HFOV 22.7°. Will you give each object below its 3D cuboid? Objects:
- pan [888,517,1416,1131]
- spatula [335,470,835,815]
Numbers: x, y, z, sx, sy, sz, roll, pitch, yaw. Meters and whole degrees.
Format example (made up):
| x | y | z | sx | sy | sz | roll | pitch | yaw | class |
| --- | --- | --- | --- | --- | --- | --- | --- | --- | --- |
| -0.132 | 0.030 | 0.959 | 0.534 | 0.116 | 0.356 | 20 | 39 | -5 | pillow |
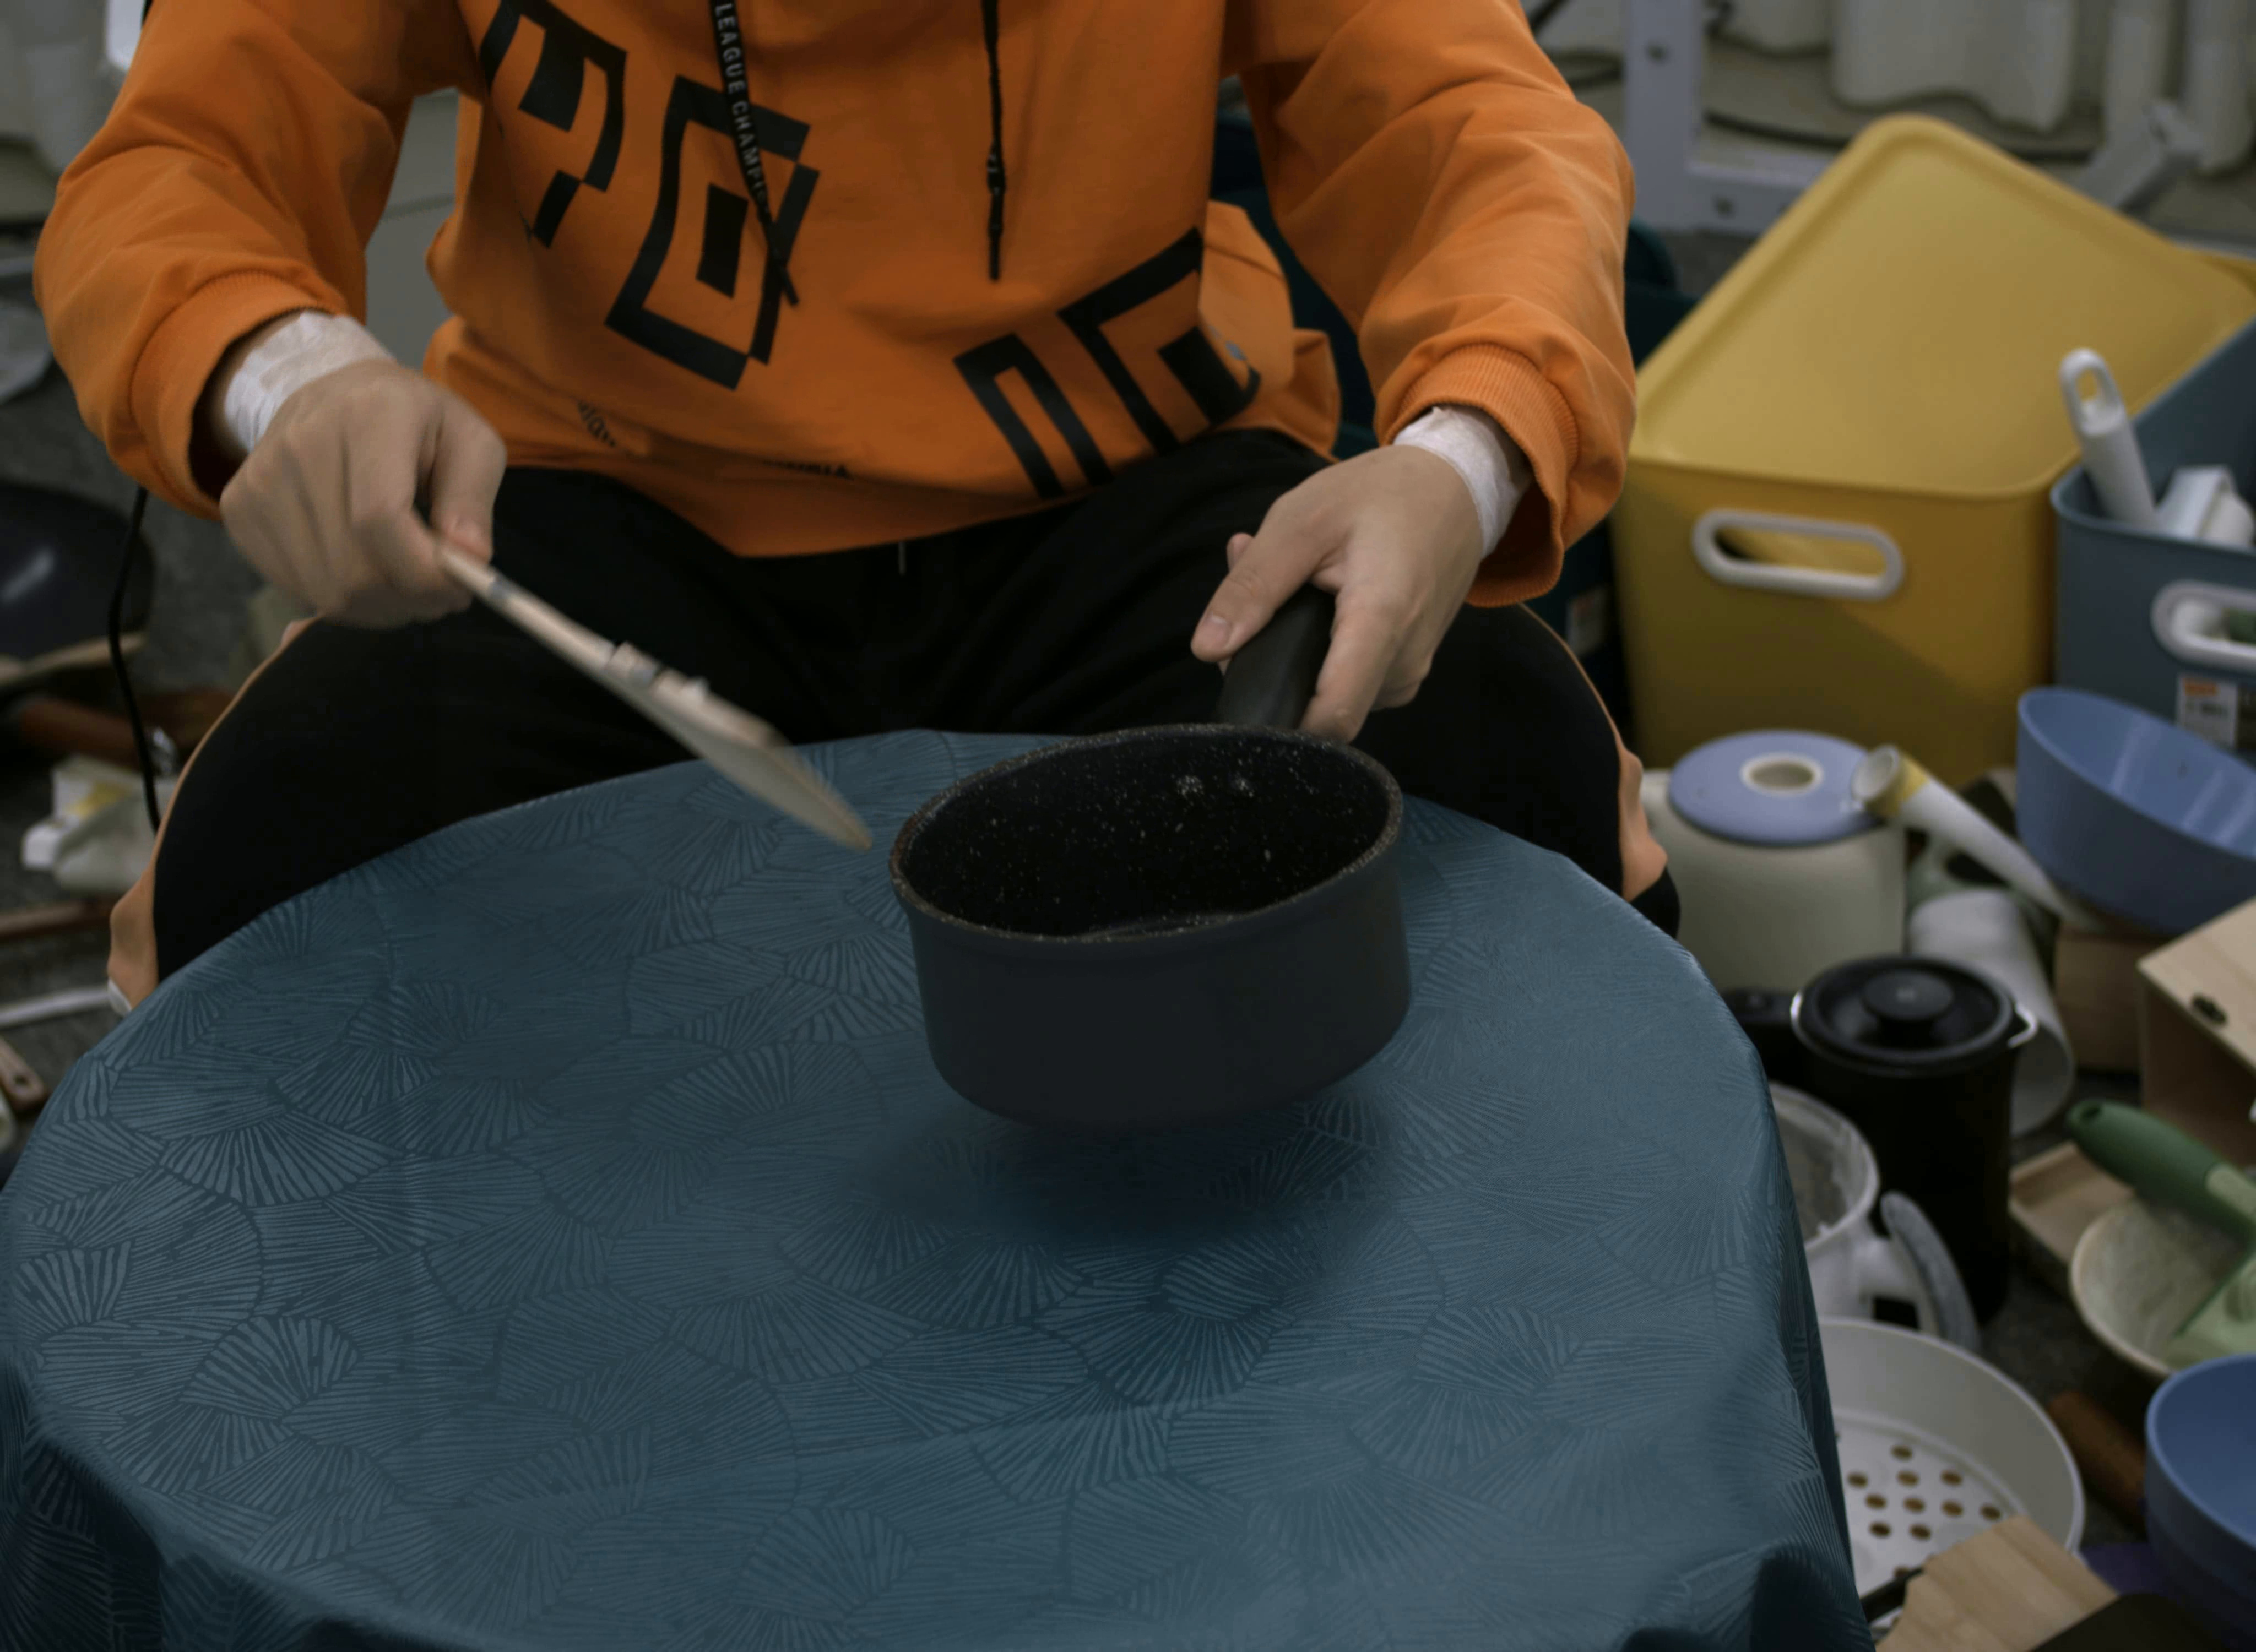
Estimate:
| x | y | z | sx | sy | sz | roll | pitch | yaw | class |
| --- | --- | --- | --- | --- | --- | --- | --- | --- | --- |
| 0.035 | -0.004 | 1.931 | 0.170 | 0.085 | 0.334 | 2 | 26 | 20 | pan |
| -0.193 | -0.070 | 1.879 | 0.011 | 0.071 | 0.293 | -49 | 40 | -9 | spatula |
